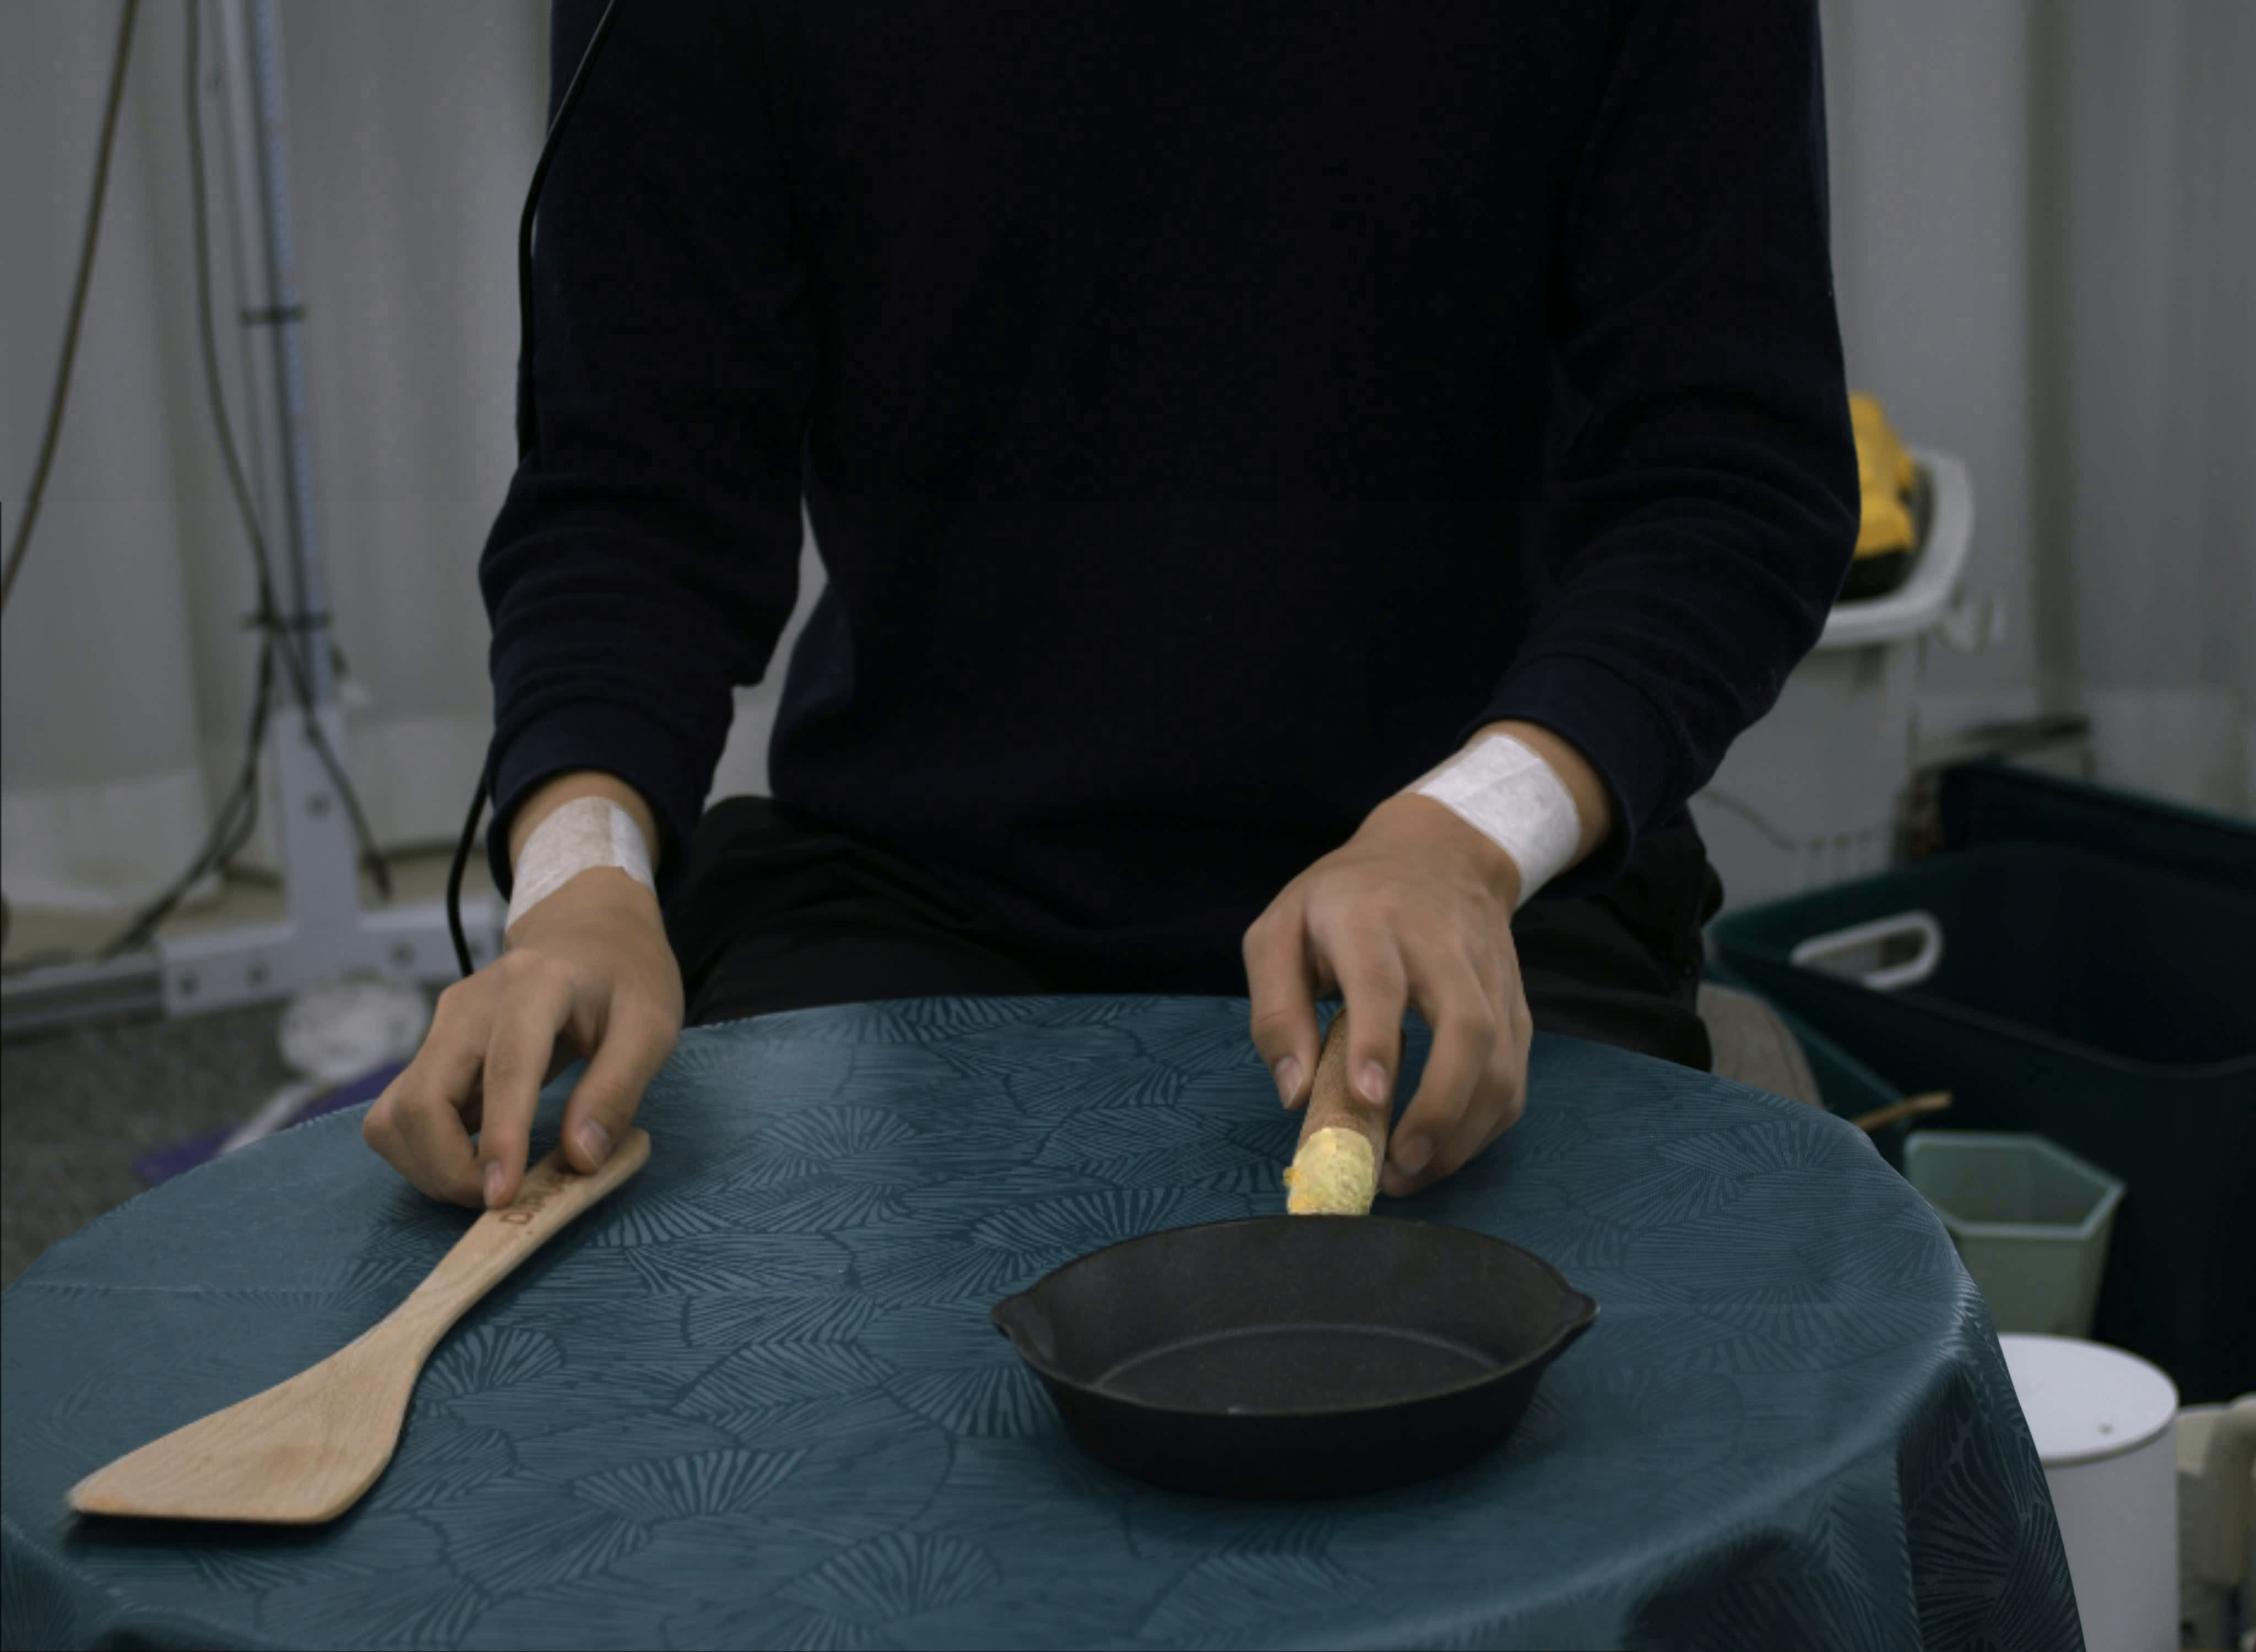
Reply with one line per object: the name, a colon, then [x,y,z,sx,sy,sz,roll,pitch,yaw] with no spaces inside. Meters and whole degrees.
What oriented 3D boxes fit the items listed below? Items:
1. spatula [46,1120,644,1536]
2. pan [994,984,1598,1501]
spatula: [-0.209,0.144,1.608,0.080,0.016,0.329,4,19,16]
pan: [0.060,0.118,1.594,0.168,0.049,0.326,0,17,10]
